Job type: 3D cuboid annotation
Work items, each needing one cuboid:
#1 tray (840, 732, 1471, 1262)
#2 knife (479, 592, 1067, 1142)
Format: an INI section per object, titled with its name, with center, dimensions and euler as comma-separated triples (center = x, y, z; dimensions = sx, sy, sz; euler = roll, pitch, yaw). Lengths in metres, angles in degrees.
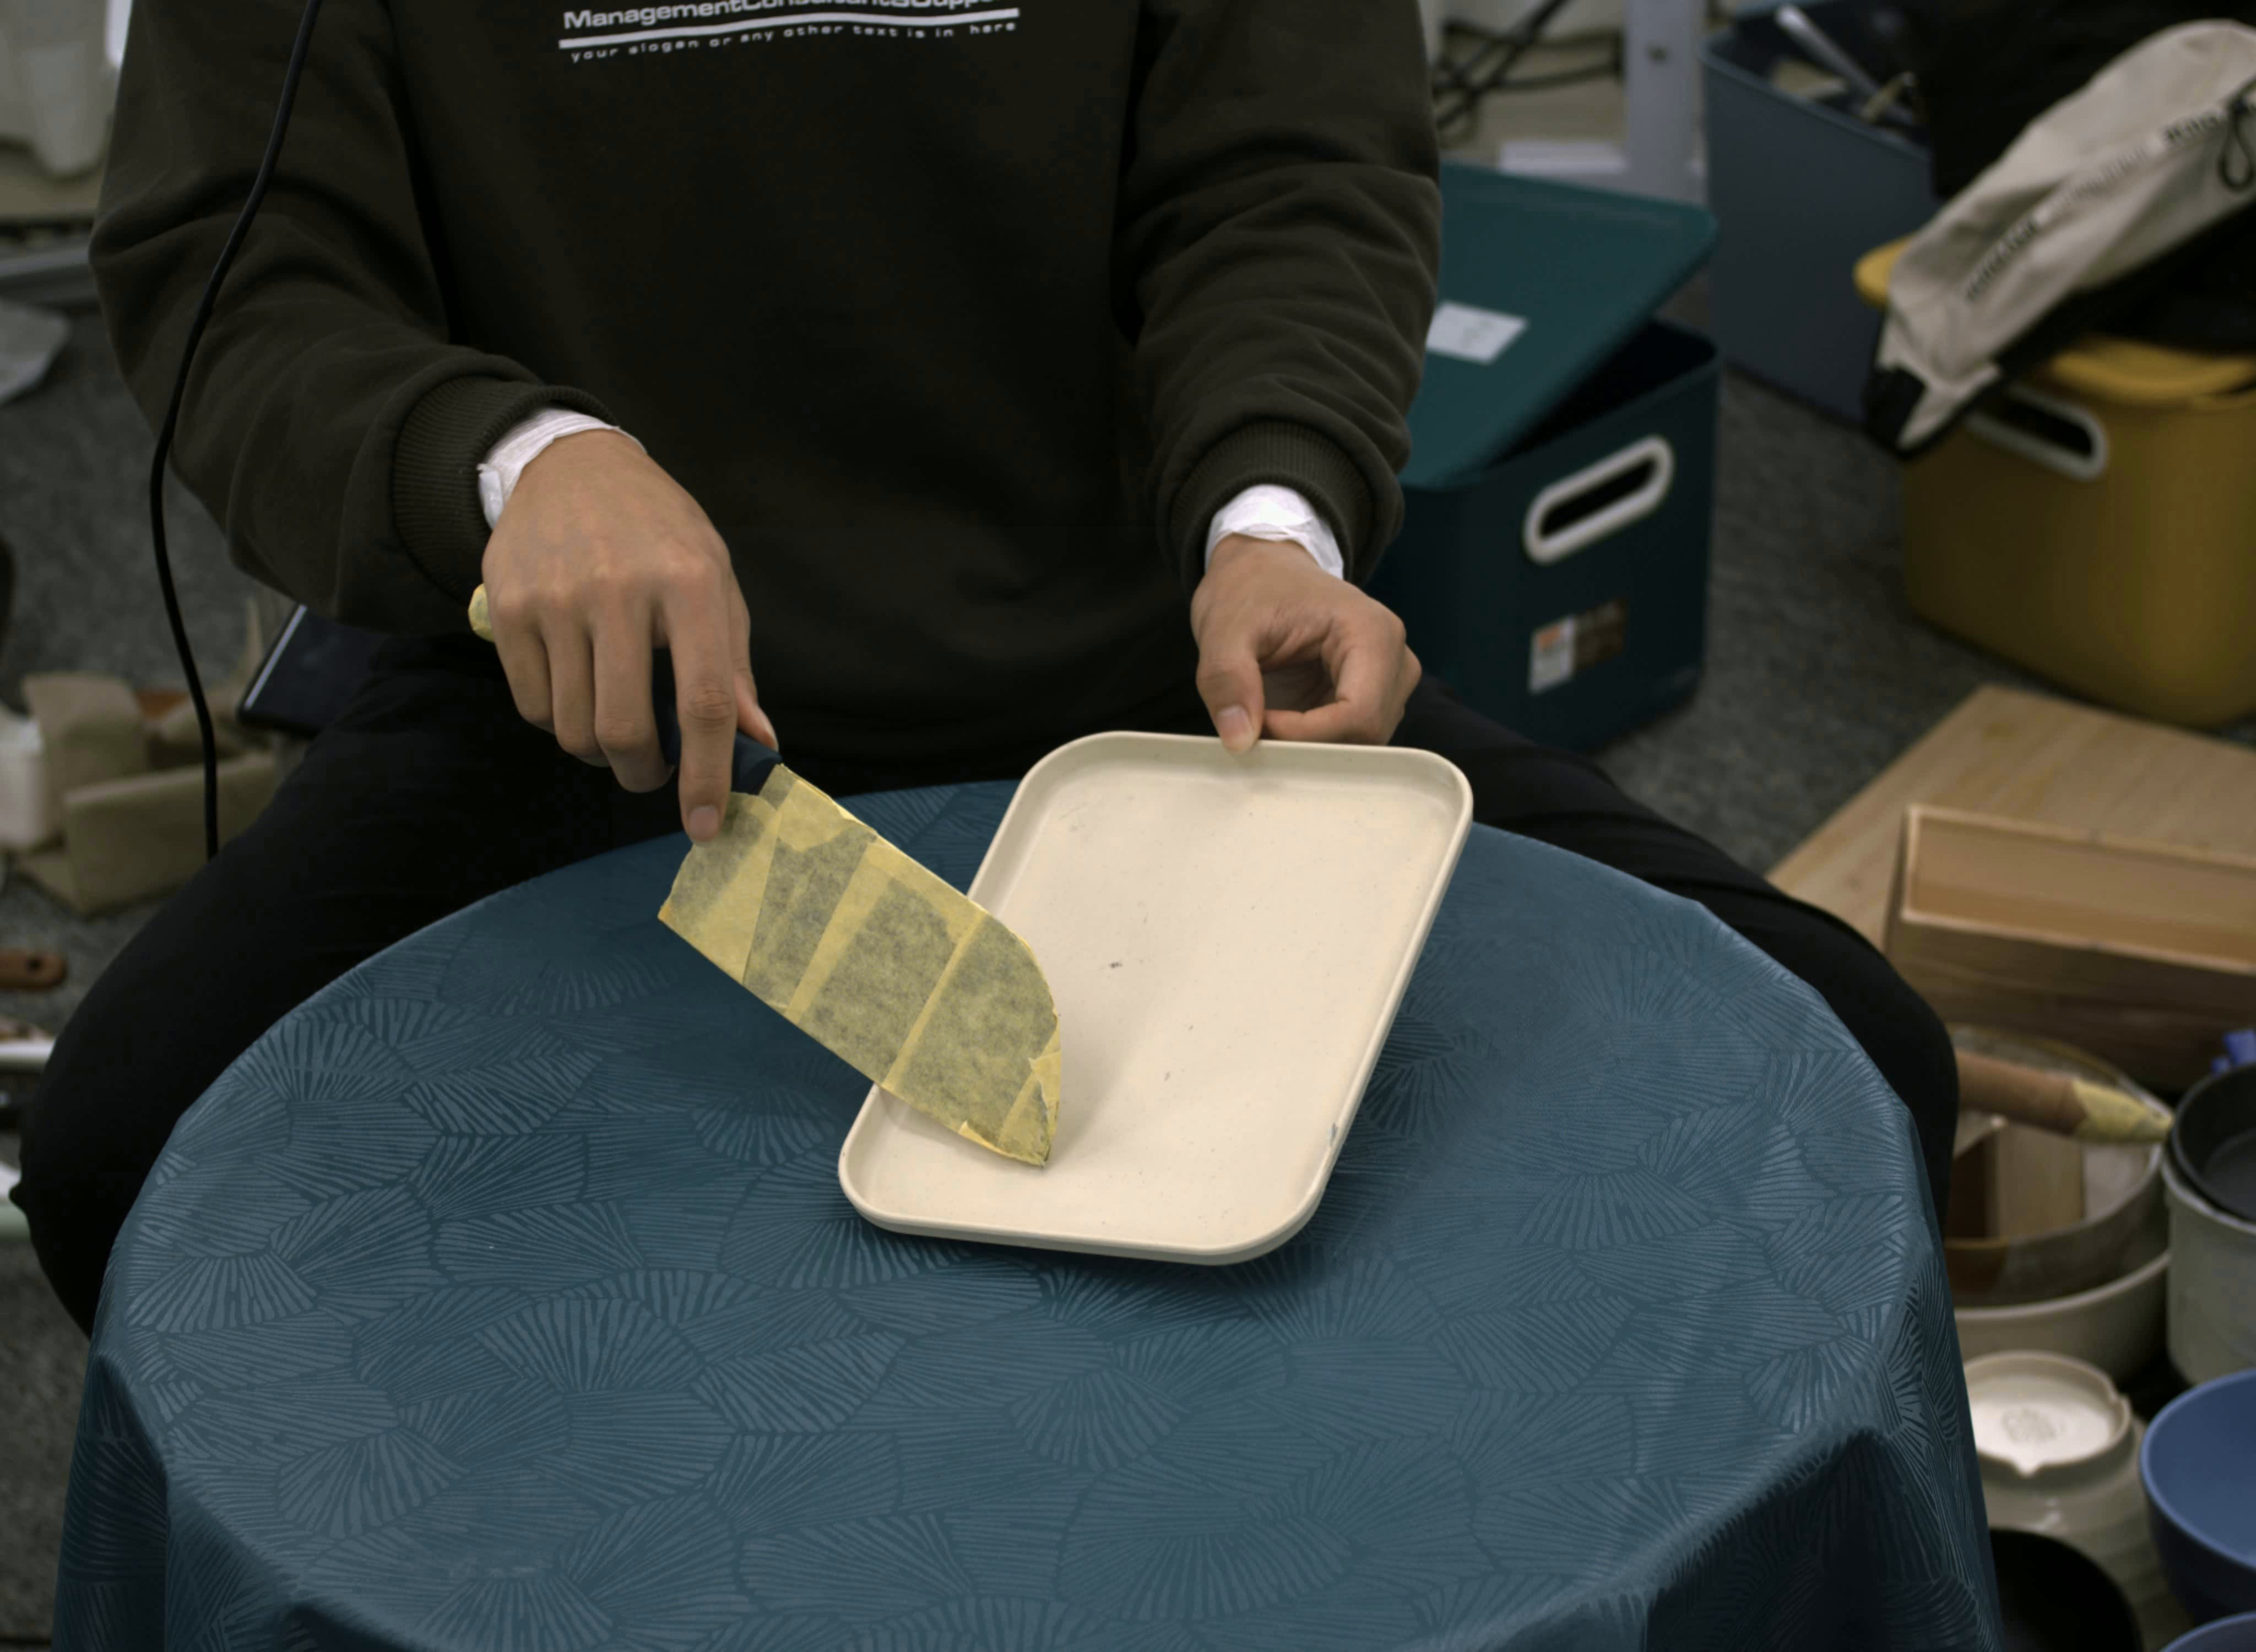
[tray]
center = 0.012, 0.056, 1.896
dimensions = 0.170, 0.017, 0.244
euler = 3, 43, 23
[knife]
center = -0.125, 0.013, 1.907
dimensions = 0.290, 0.080, 0.027
euler = 39, 13, 25
